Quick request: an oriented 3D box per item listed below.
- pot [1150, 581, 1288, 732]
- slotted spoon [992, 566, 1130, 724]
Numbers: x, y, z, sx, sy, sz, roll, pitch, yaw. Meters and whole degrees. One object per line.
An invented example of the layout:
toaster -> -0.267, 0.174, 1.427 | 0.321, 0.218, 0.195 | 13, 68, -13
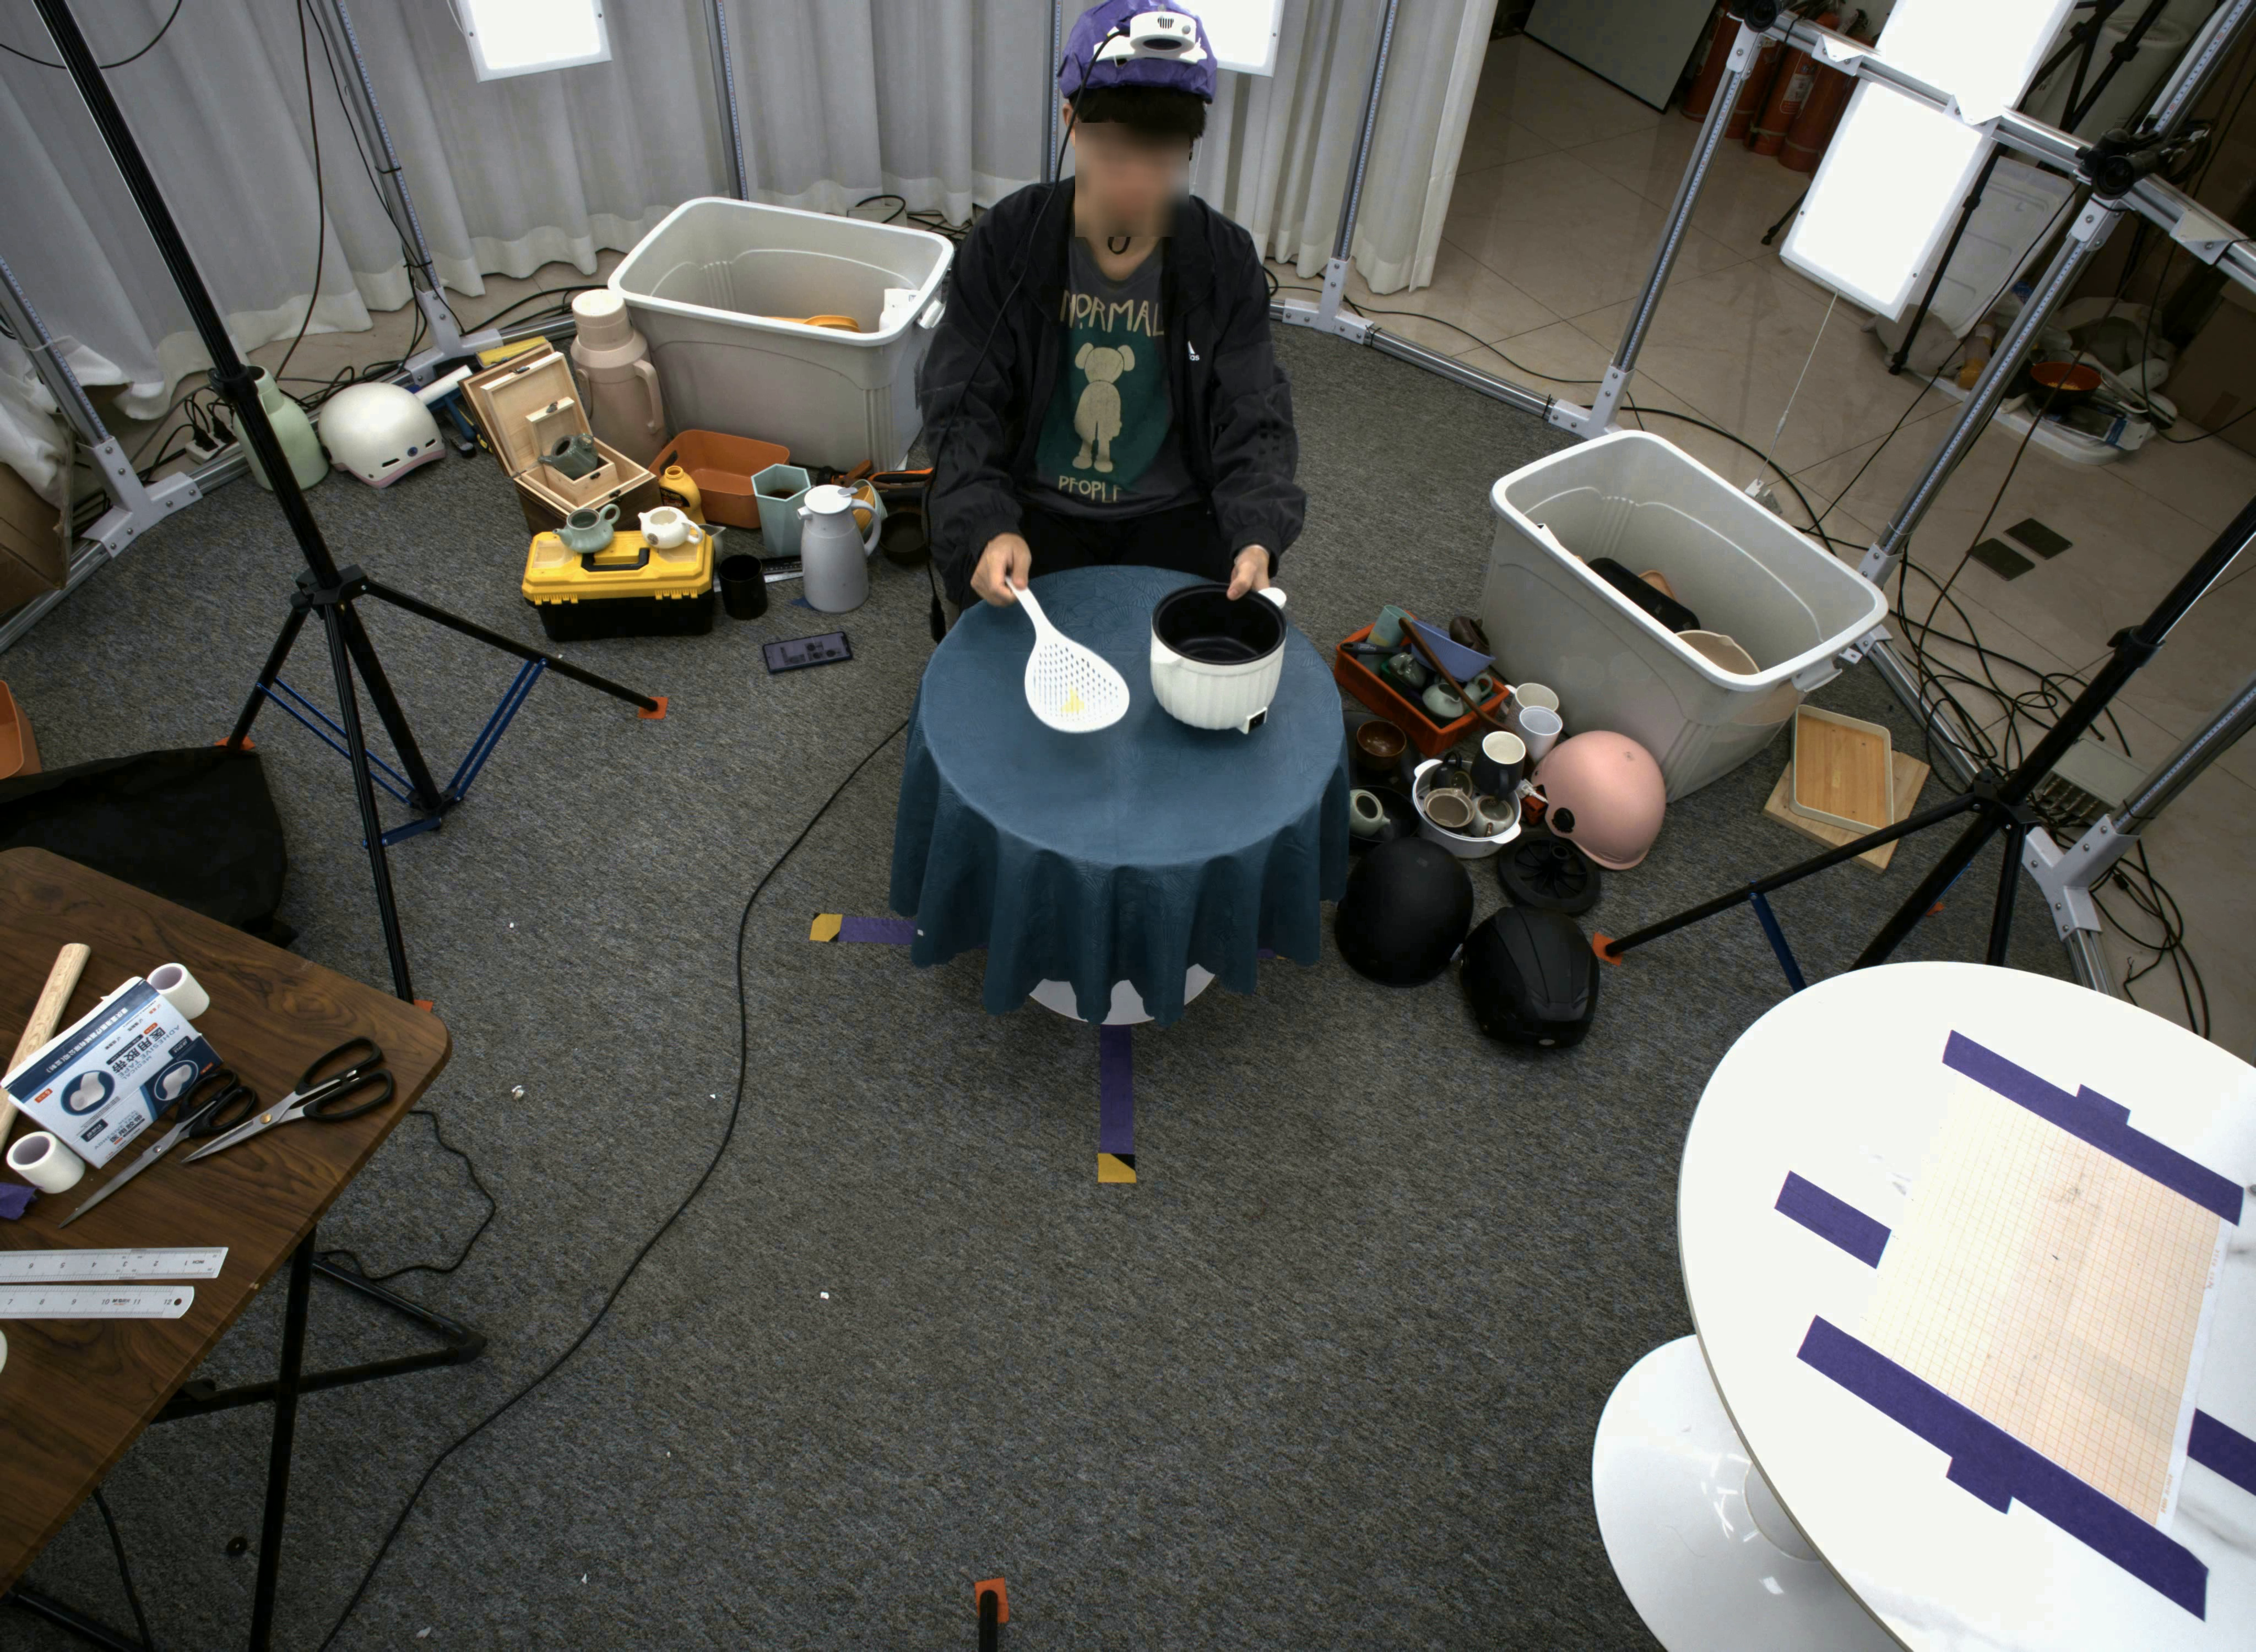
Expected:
pot -> 0.115, -0.230, 1.757 | 0.242, 0.139, 0.194 | -30, 55, -31
slotted spoon -> -0.112, -0.259, 1.764 | 0.137, 0.049, 0.355 | -16, 56, -18
